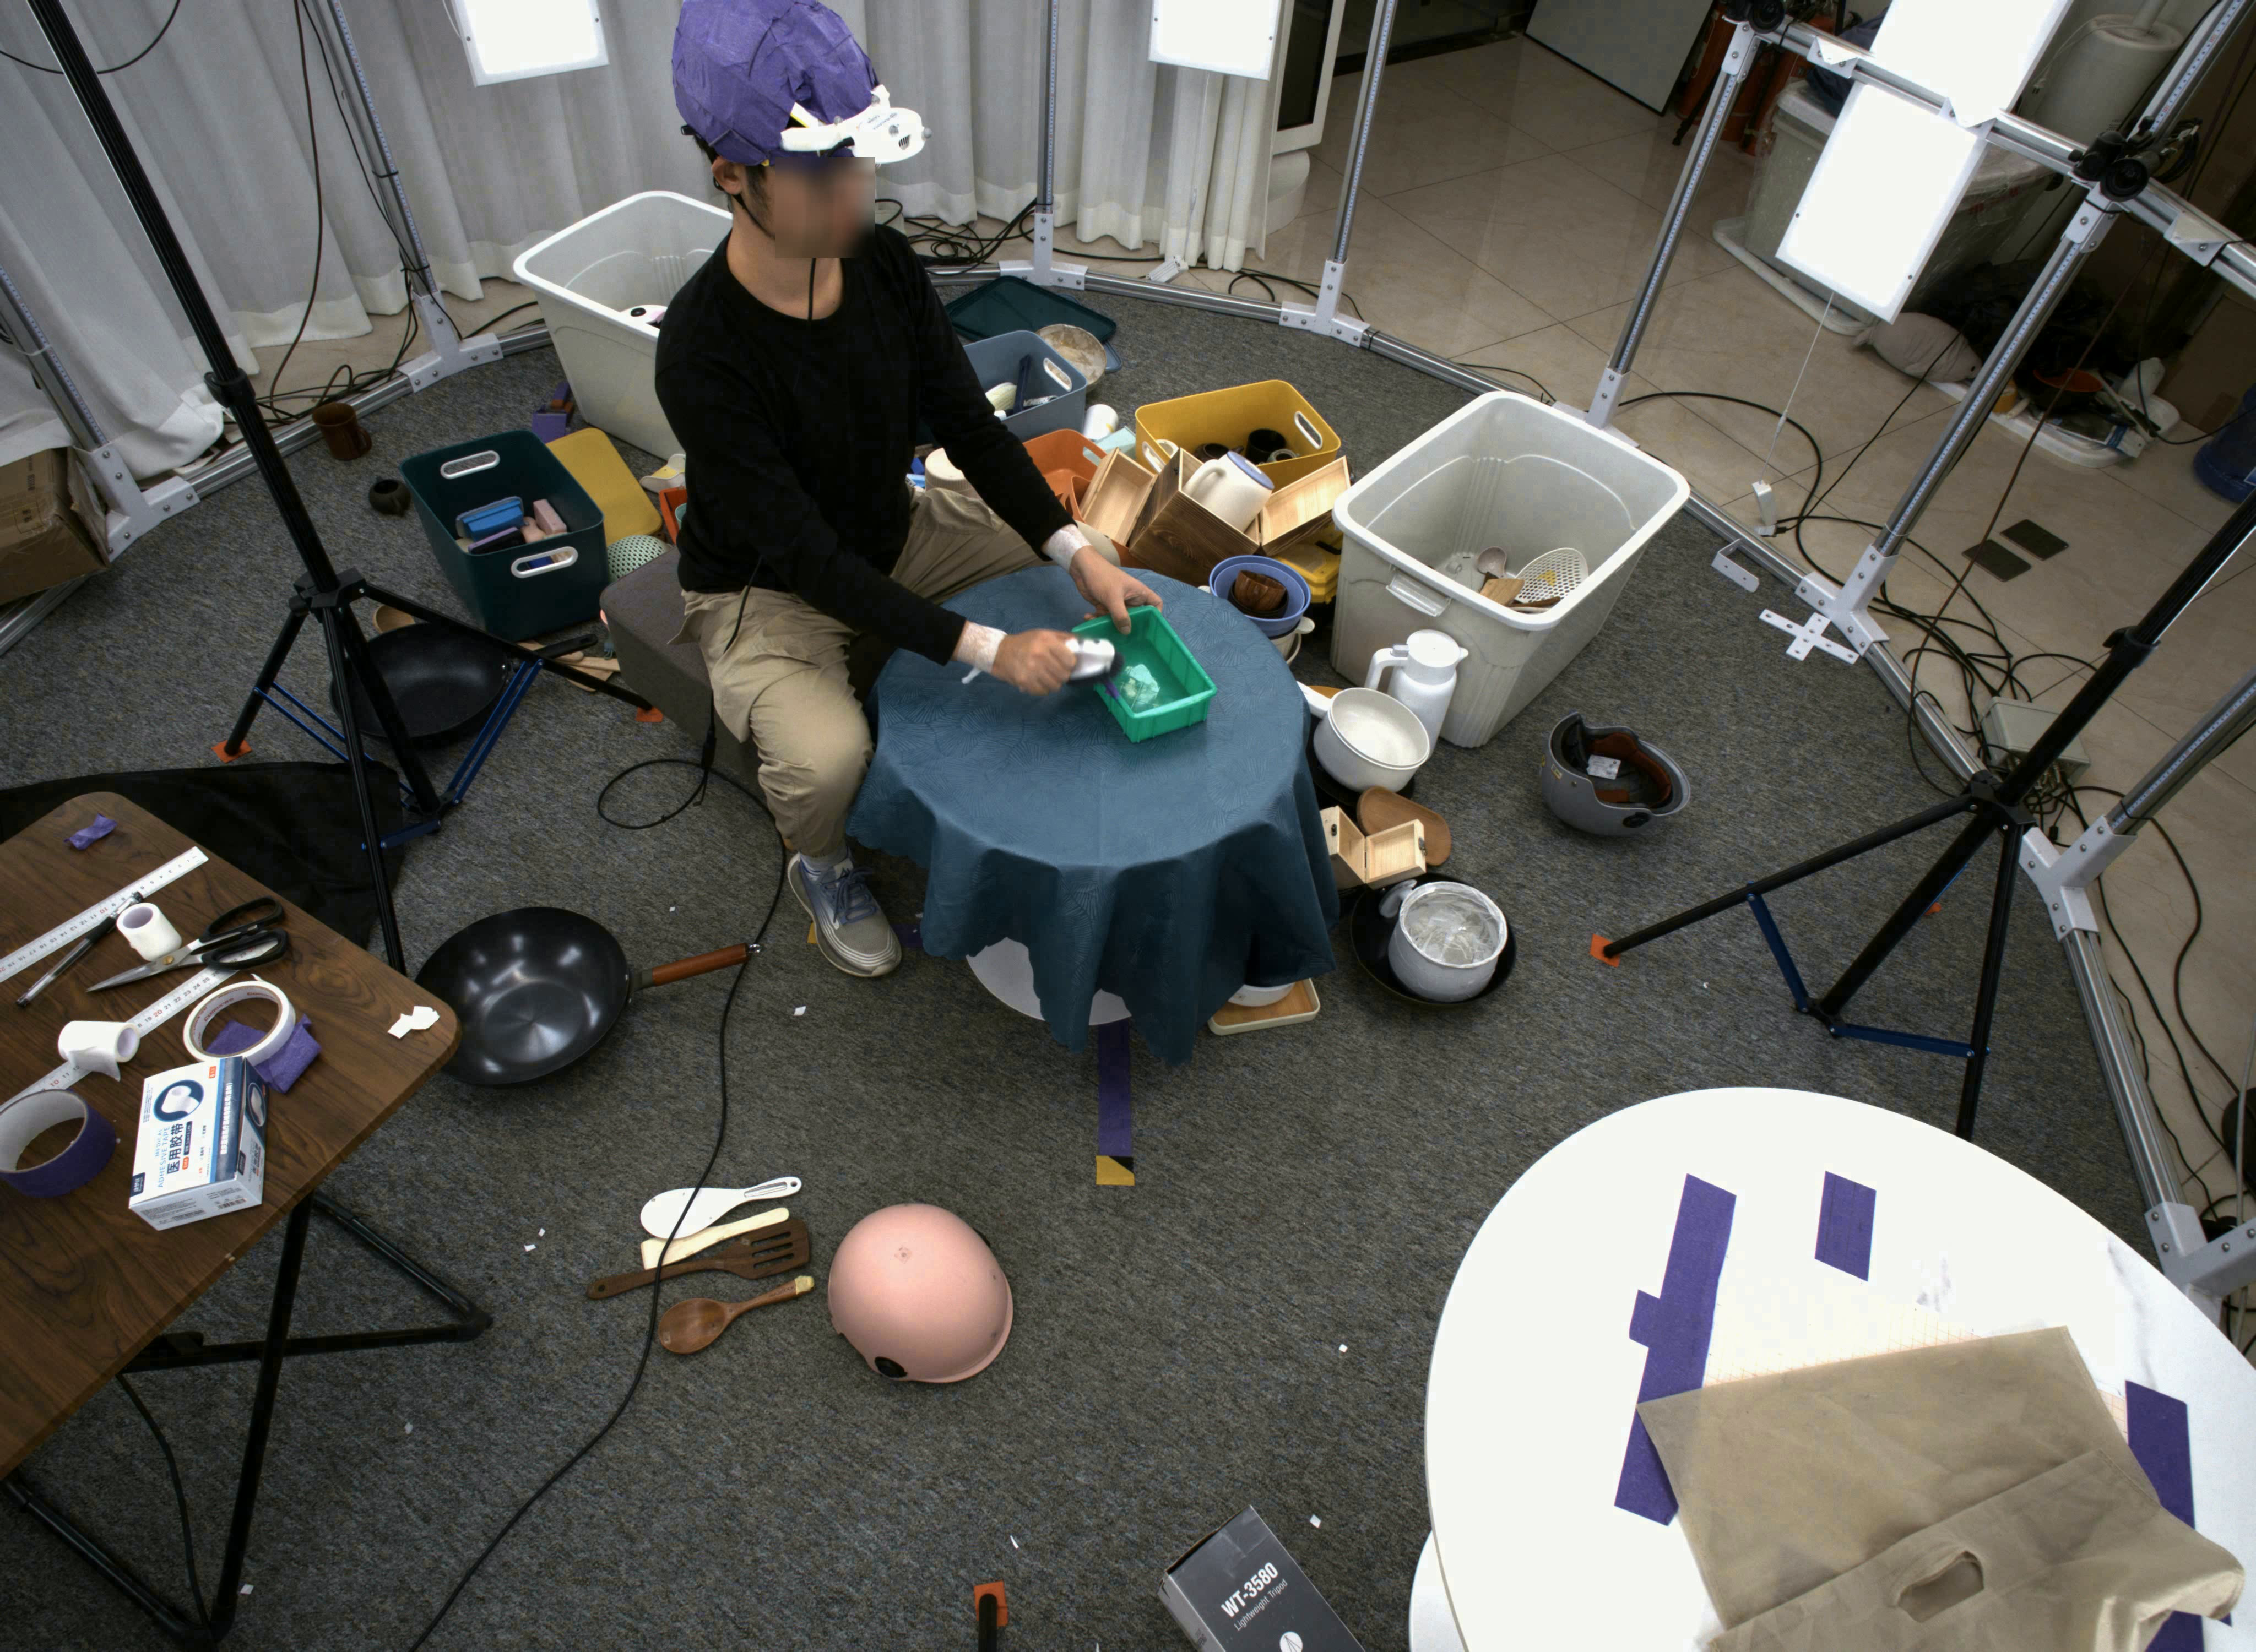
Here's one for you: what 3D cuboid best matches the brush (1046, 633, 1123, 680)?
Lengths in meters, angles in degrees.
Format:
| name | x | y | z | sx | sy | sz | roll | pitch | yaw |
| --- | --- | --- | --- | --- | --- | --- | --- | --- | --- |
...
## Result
| name | x | y | z | sx | sy | sz | roll | pitch | yaw |
| --- | --- | --- | --- | --- | --- | --- | --- | --- | --- |
| brush | -0.067 | -0.240 | 1.760 | 0.099 | 0.071 | 0.051 | -6 | 67 | 33 |

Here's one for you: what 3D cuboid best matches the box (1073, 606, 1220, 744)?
| name | x | y | z | sx | sy | sz | roll | pitch | yaw |
| --- | --- | --- | --- | --- | --- | --- | --- | --- | --- |
| box | 0.023 | -0.212 | 1.815 | 0.139 | 0.064 | 0.215 | -22 | 55 | -19 |
